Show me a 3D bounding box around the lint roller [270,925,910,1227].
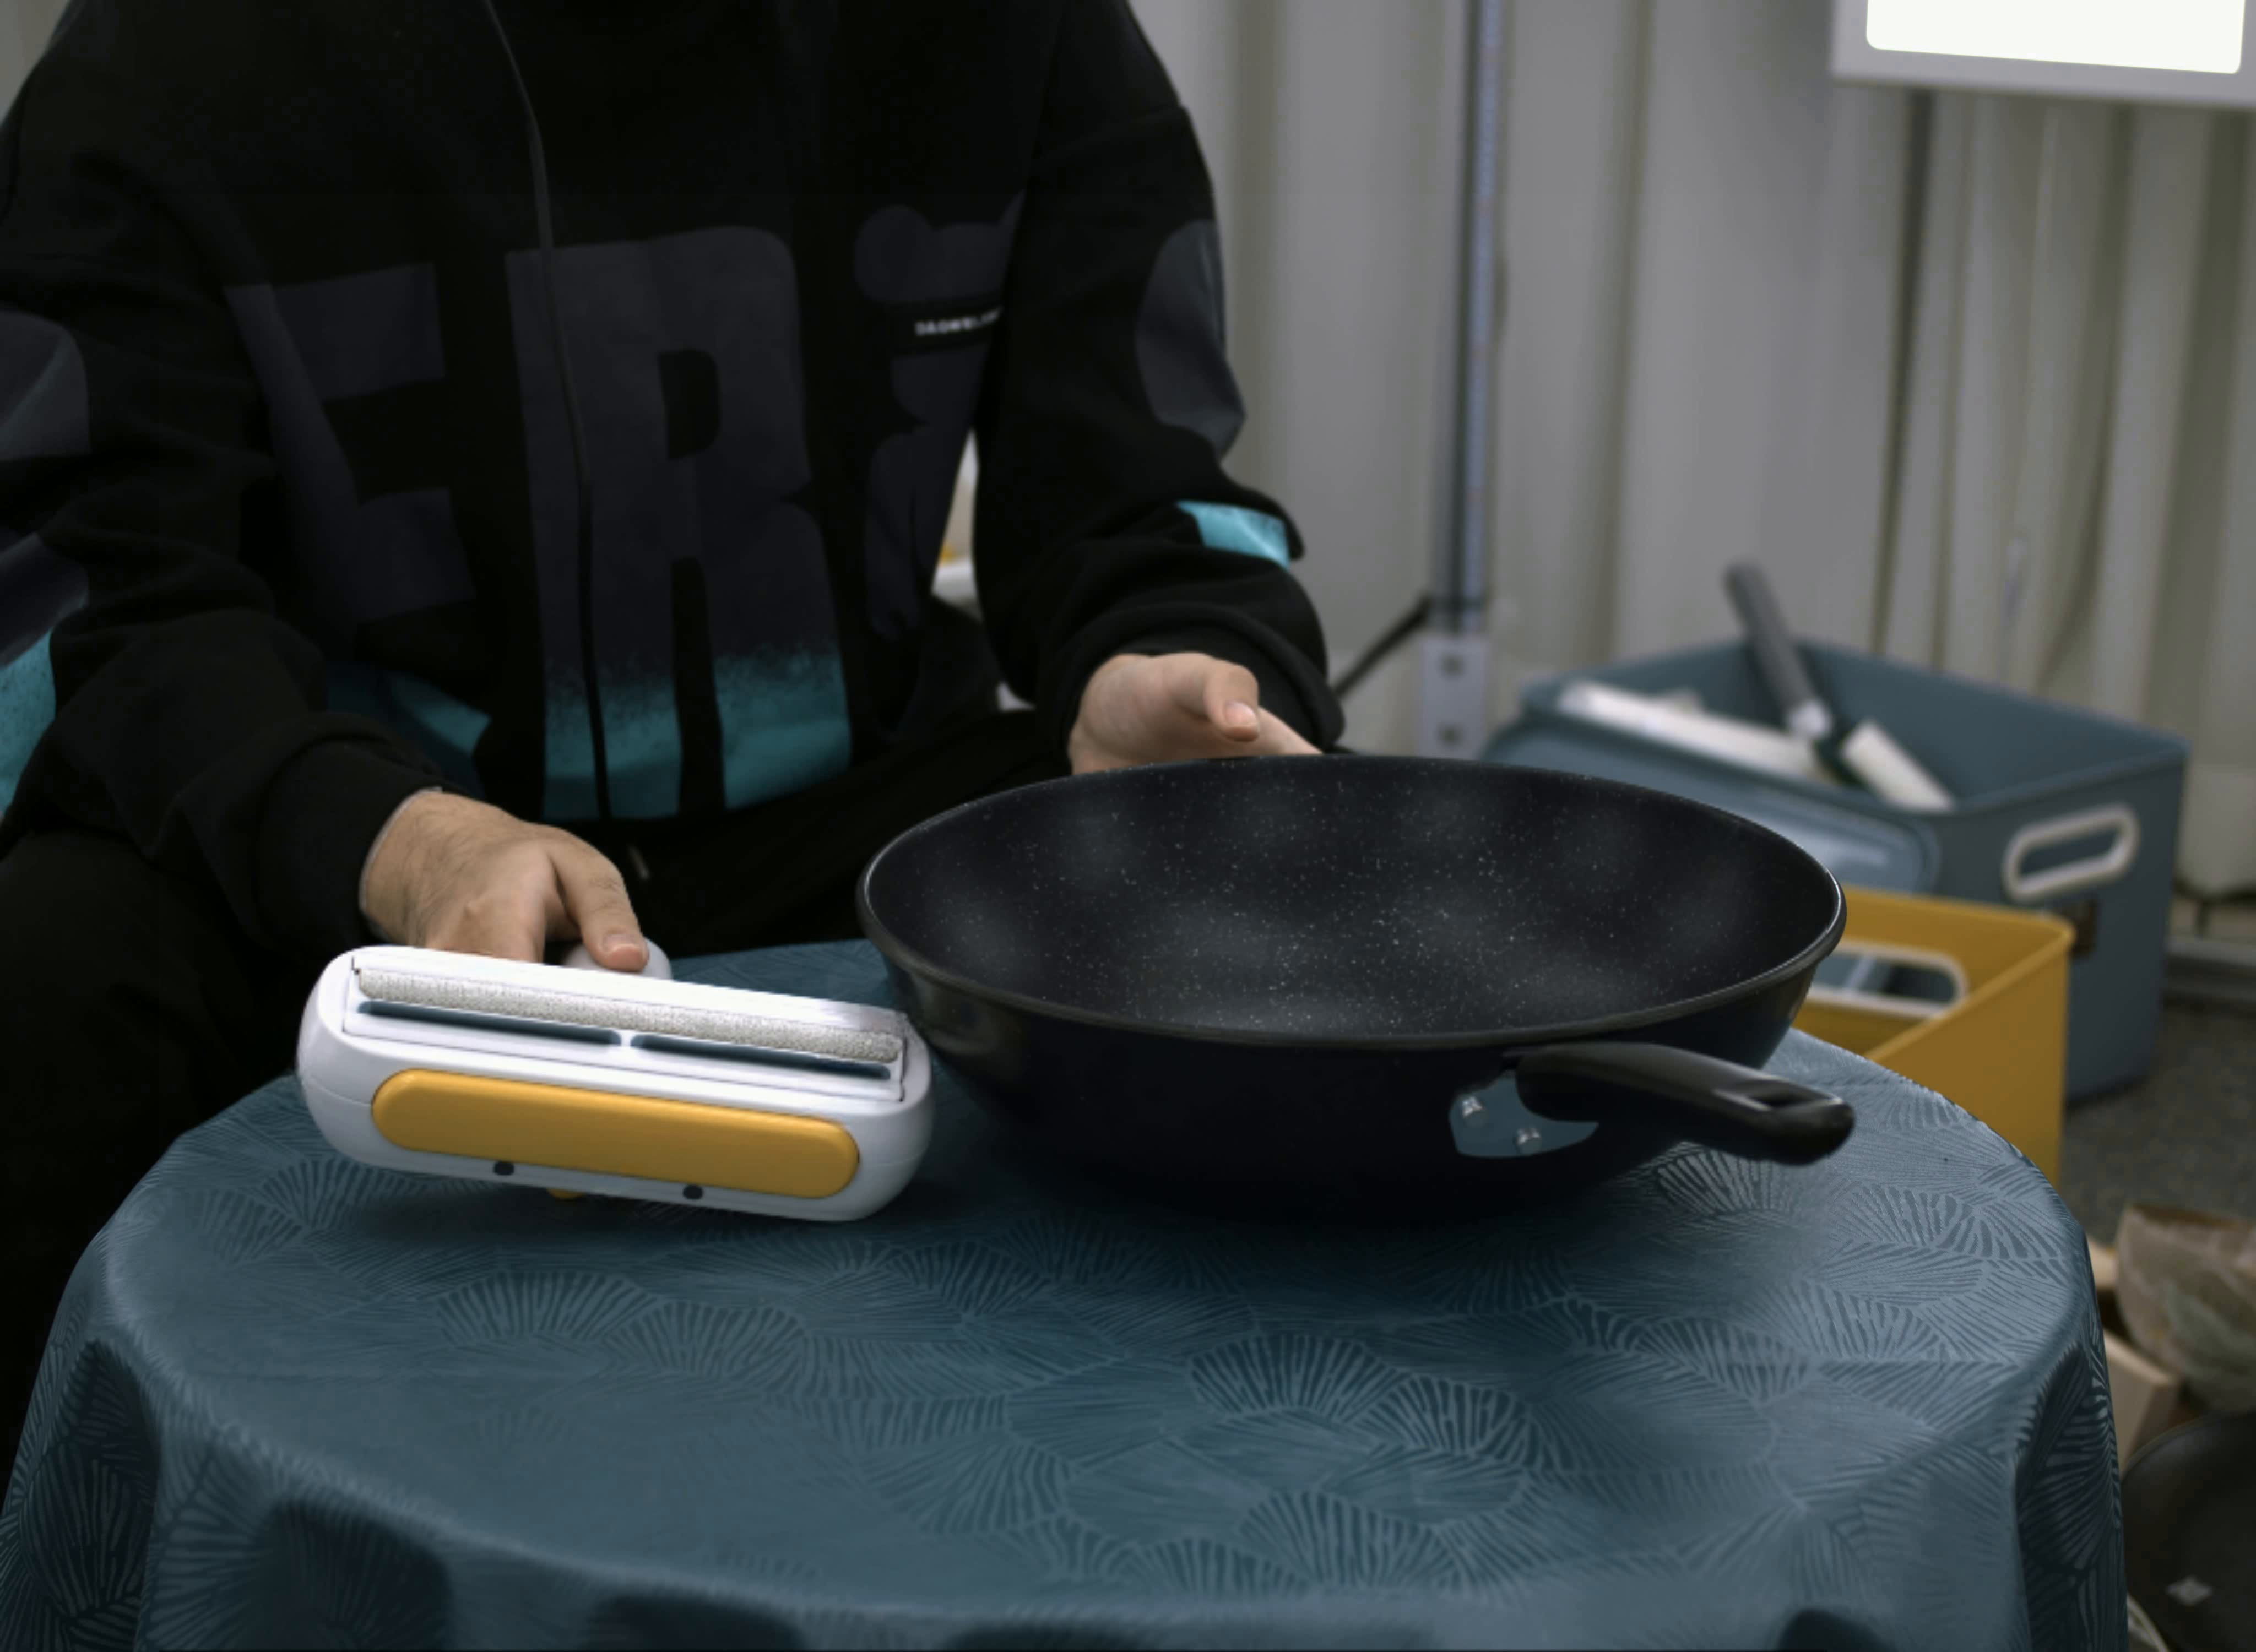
[{"bbox_3d":[-0.163,0.061,1.643,0.192,0.075,0.191,5,23,-3],"label":"lint roller"}]

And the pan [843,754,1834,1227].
[{"bbox_3d":[0.094,0.068,1.582,0.311,0.112,0.471,-7,17,-19],"label":"pan"}]
